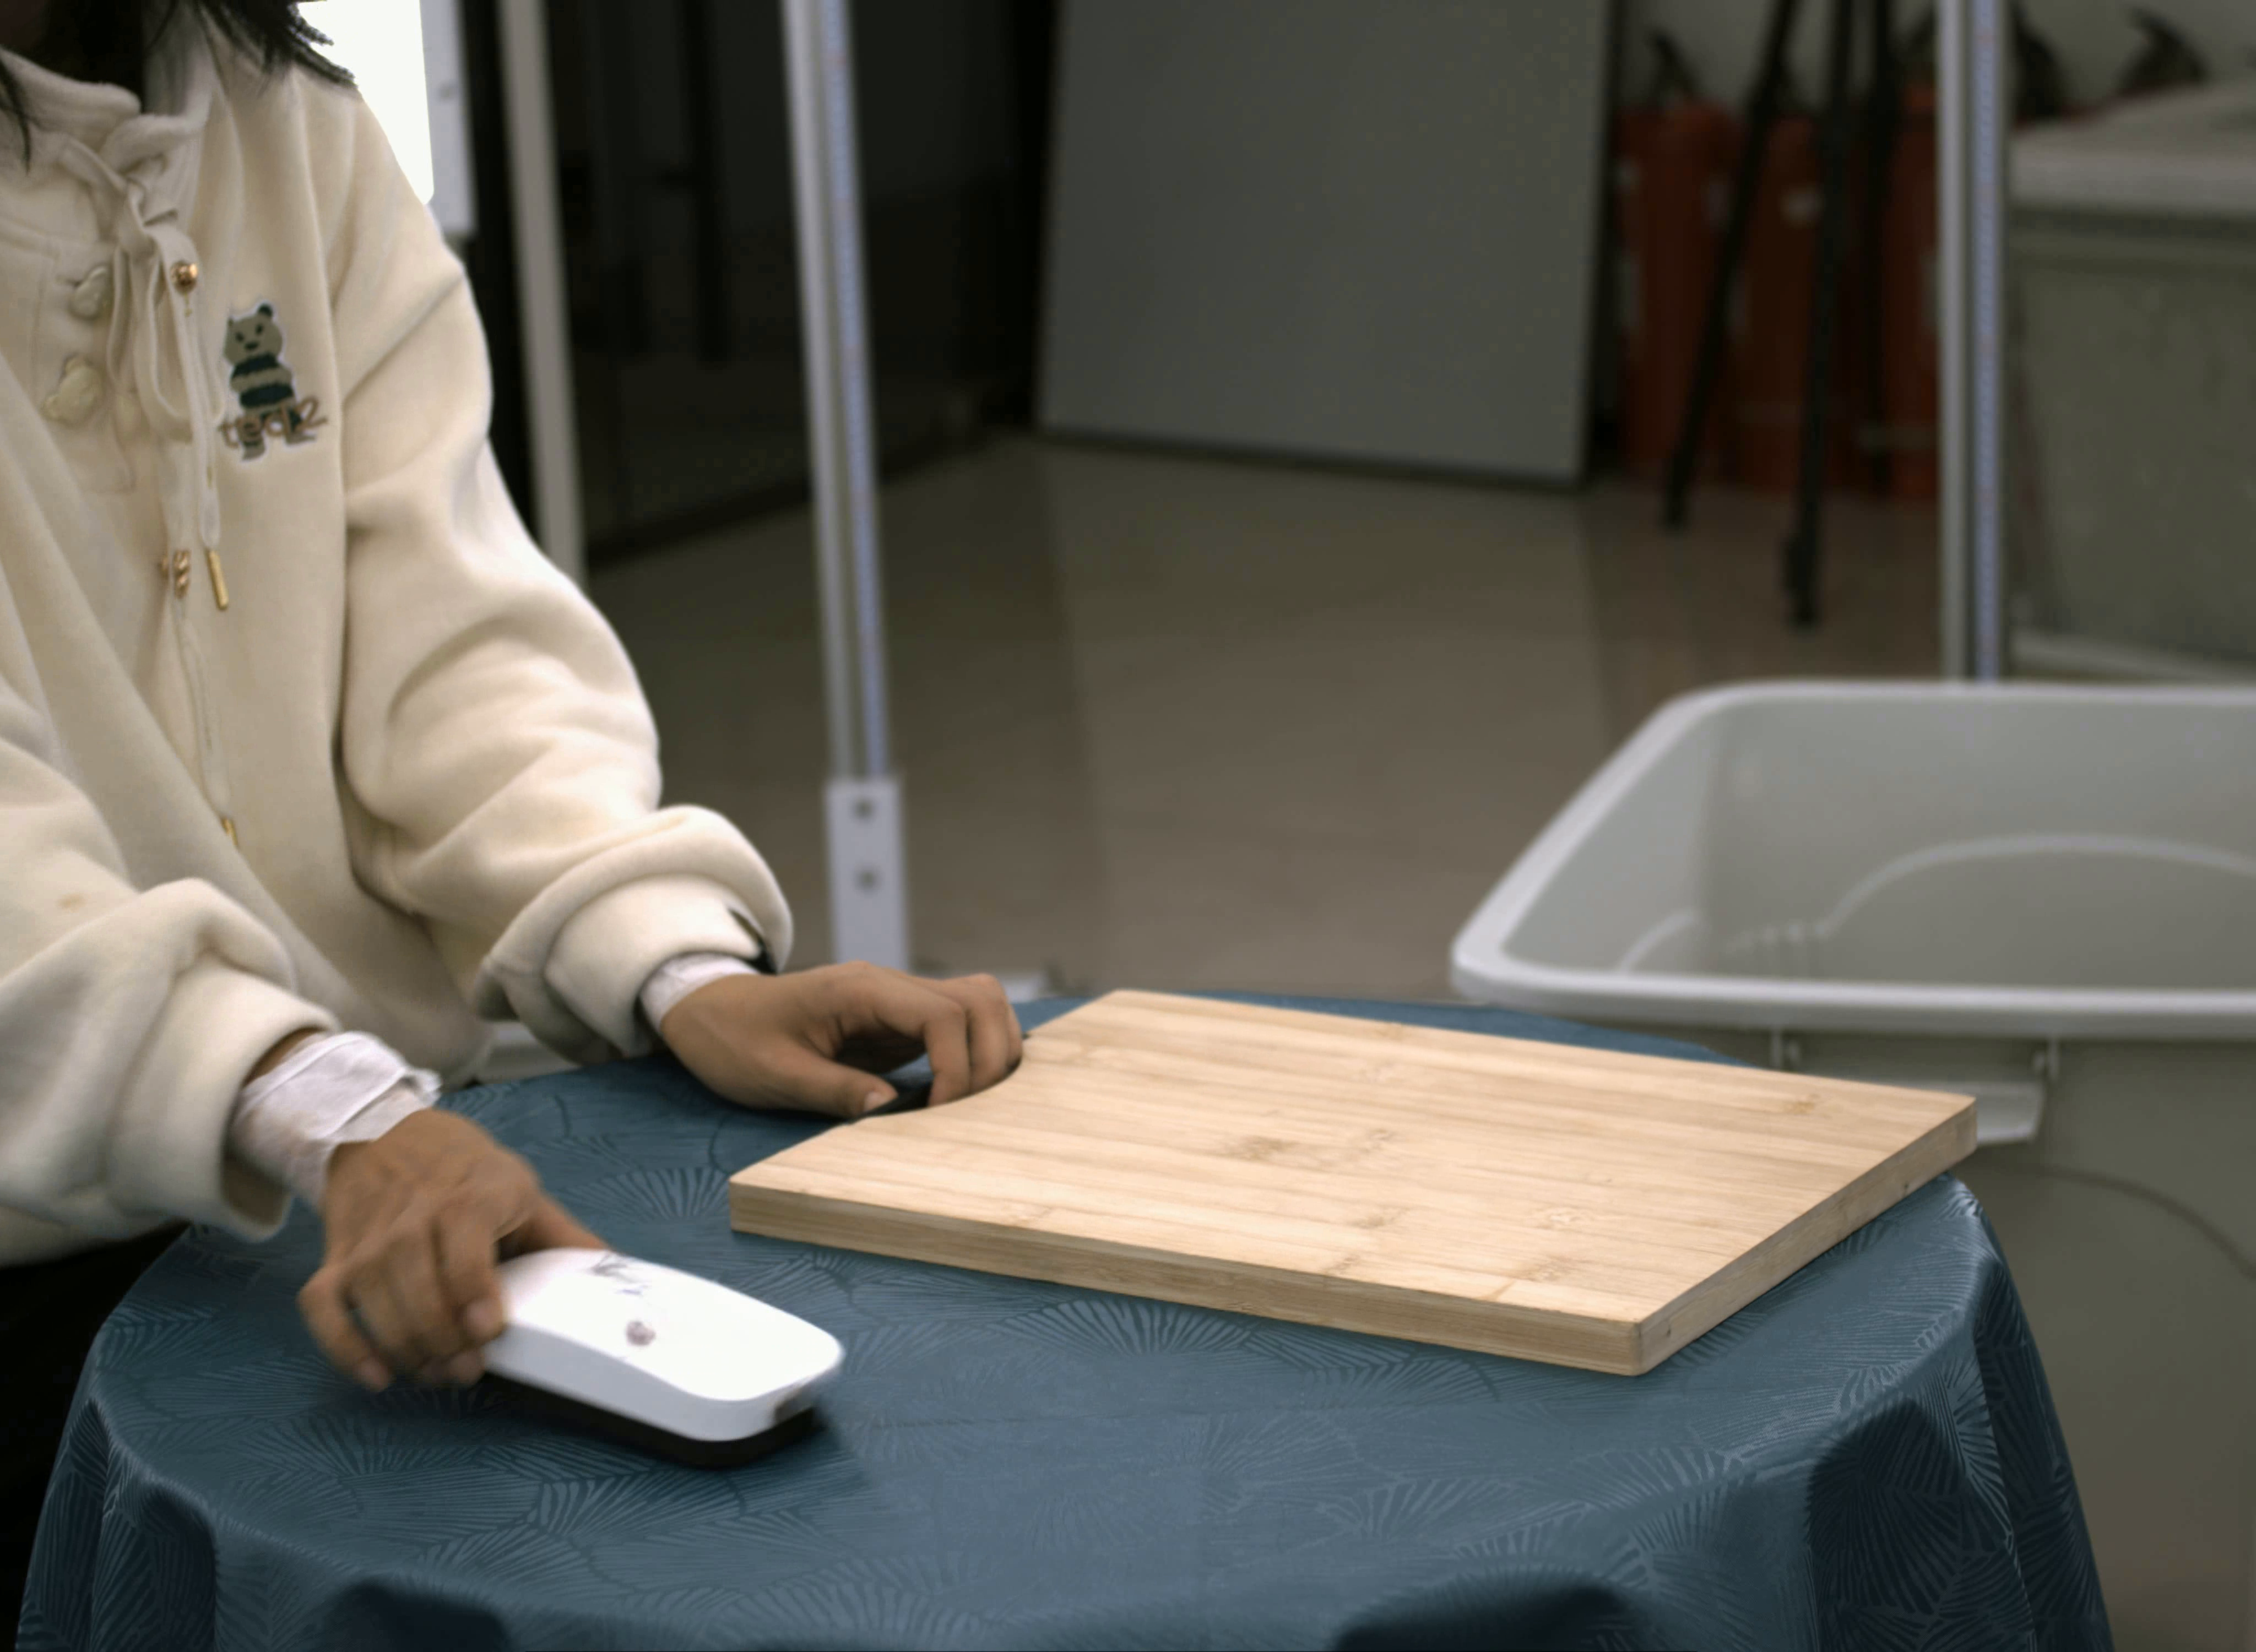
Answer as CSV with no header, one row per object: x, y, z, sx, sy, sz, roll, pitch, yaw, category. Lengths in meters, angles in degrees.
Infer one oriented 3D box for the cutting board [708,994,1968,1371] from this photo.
0.069,0.111,1.758,0.350,0.024,0.246,5,16,33,cutting board

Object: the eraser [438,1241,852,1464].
-0.142,0.151,1.595,0.132,0.035,0.062,15,21,39,eraser
